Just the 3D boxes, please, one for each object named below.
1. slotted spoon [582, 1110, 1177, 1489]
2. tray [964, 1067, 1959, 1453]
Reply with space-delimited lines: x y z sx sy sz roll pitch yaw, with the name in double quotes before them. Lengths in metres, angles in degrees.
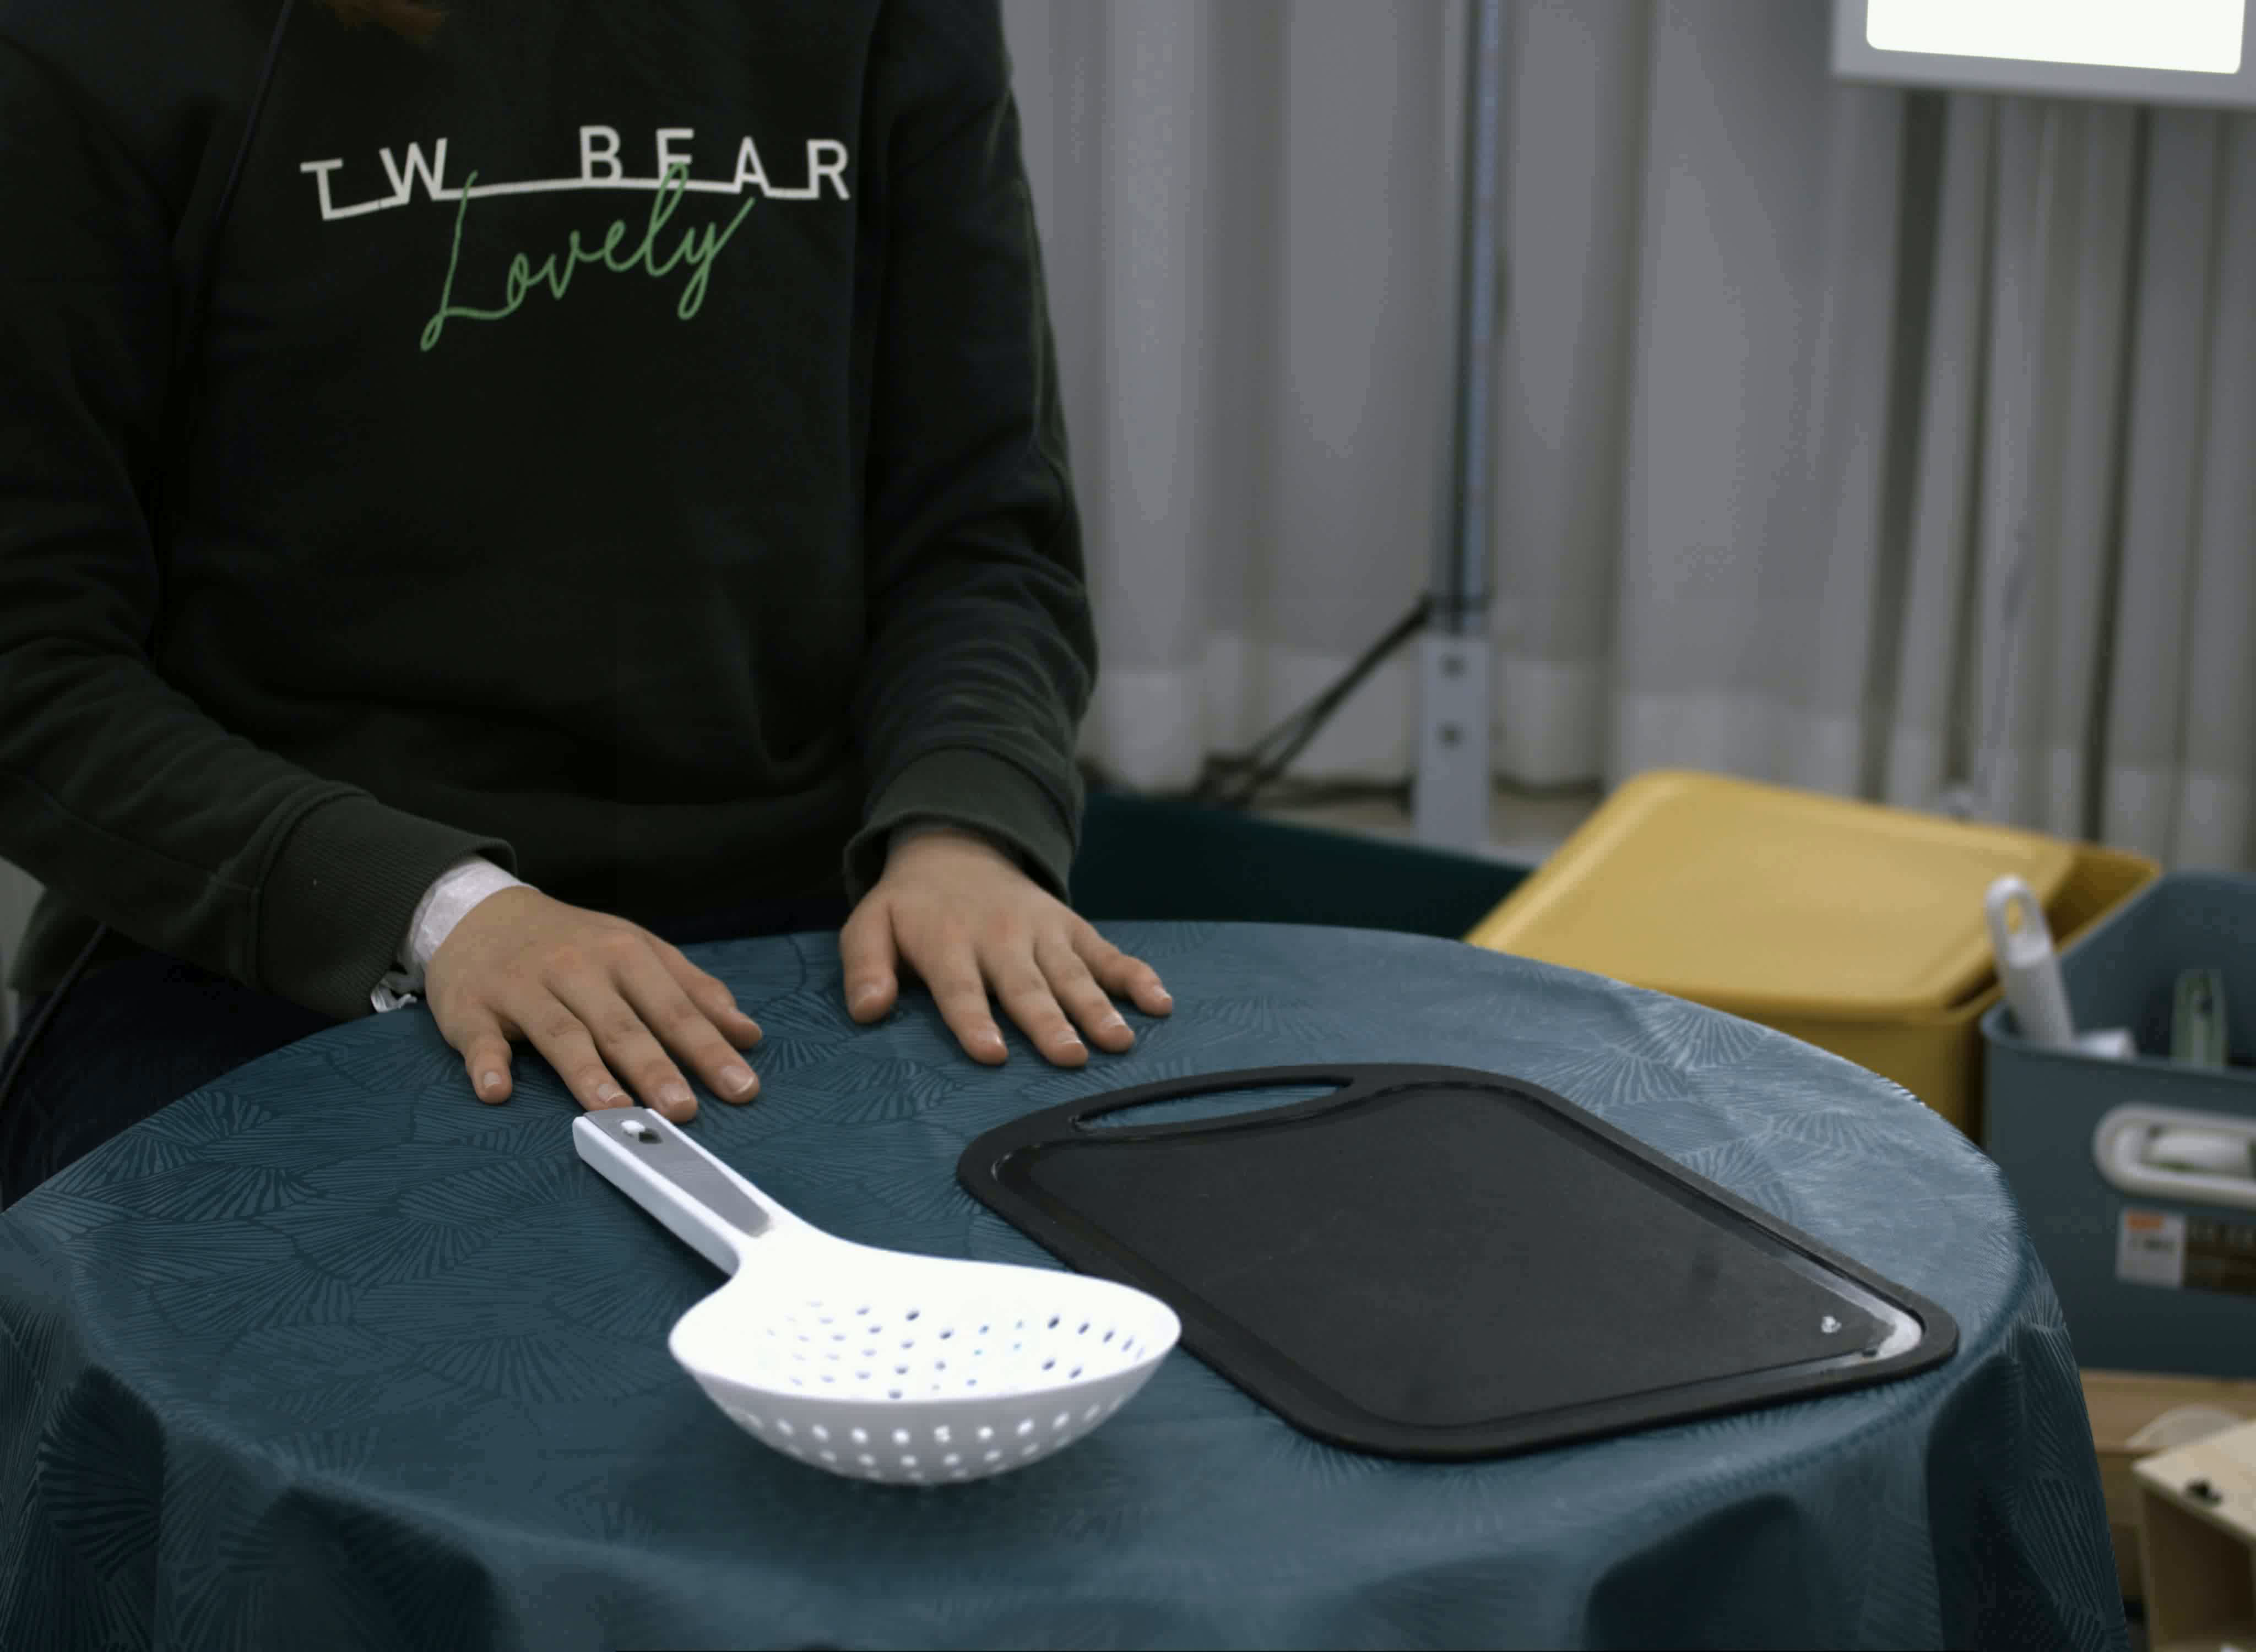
"slotted spoon" -0.096 0.125 1.496 0.136 0.046 0.346 -4 15 -22
"tray" 0.089 0.122 1.583 0.212 0.010 0.321 -7 17 -26
